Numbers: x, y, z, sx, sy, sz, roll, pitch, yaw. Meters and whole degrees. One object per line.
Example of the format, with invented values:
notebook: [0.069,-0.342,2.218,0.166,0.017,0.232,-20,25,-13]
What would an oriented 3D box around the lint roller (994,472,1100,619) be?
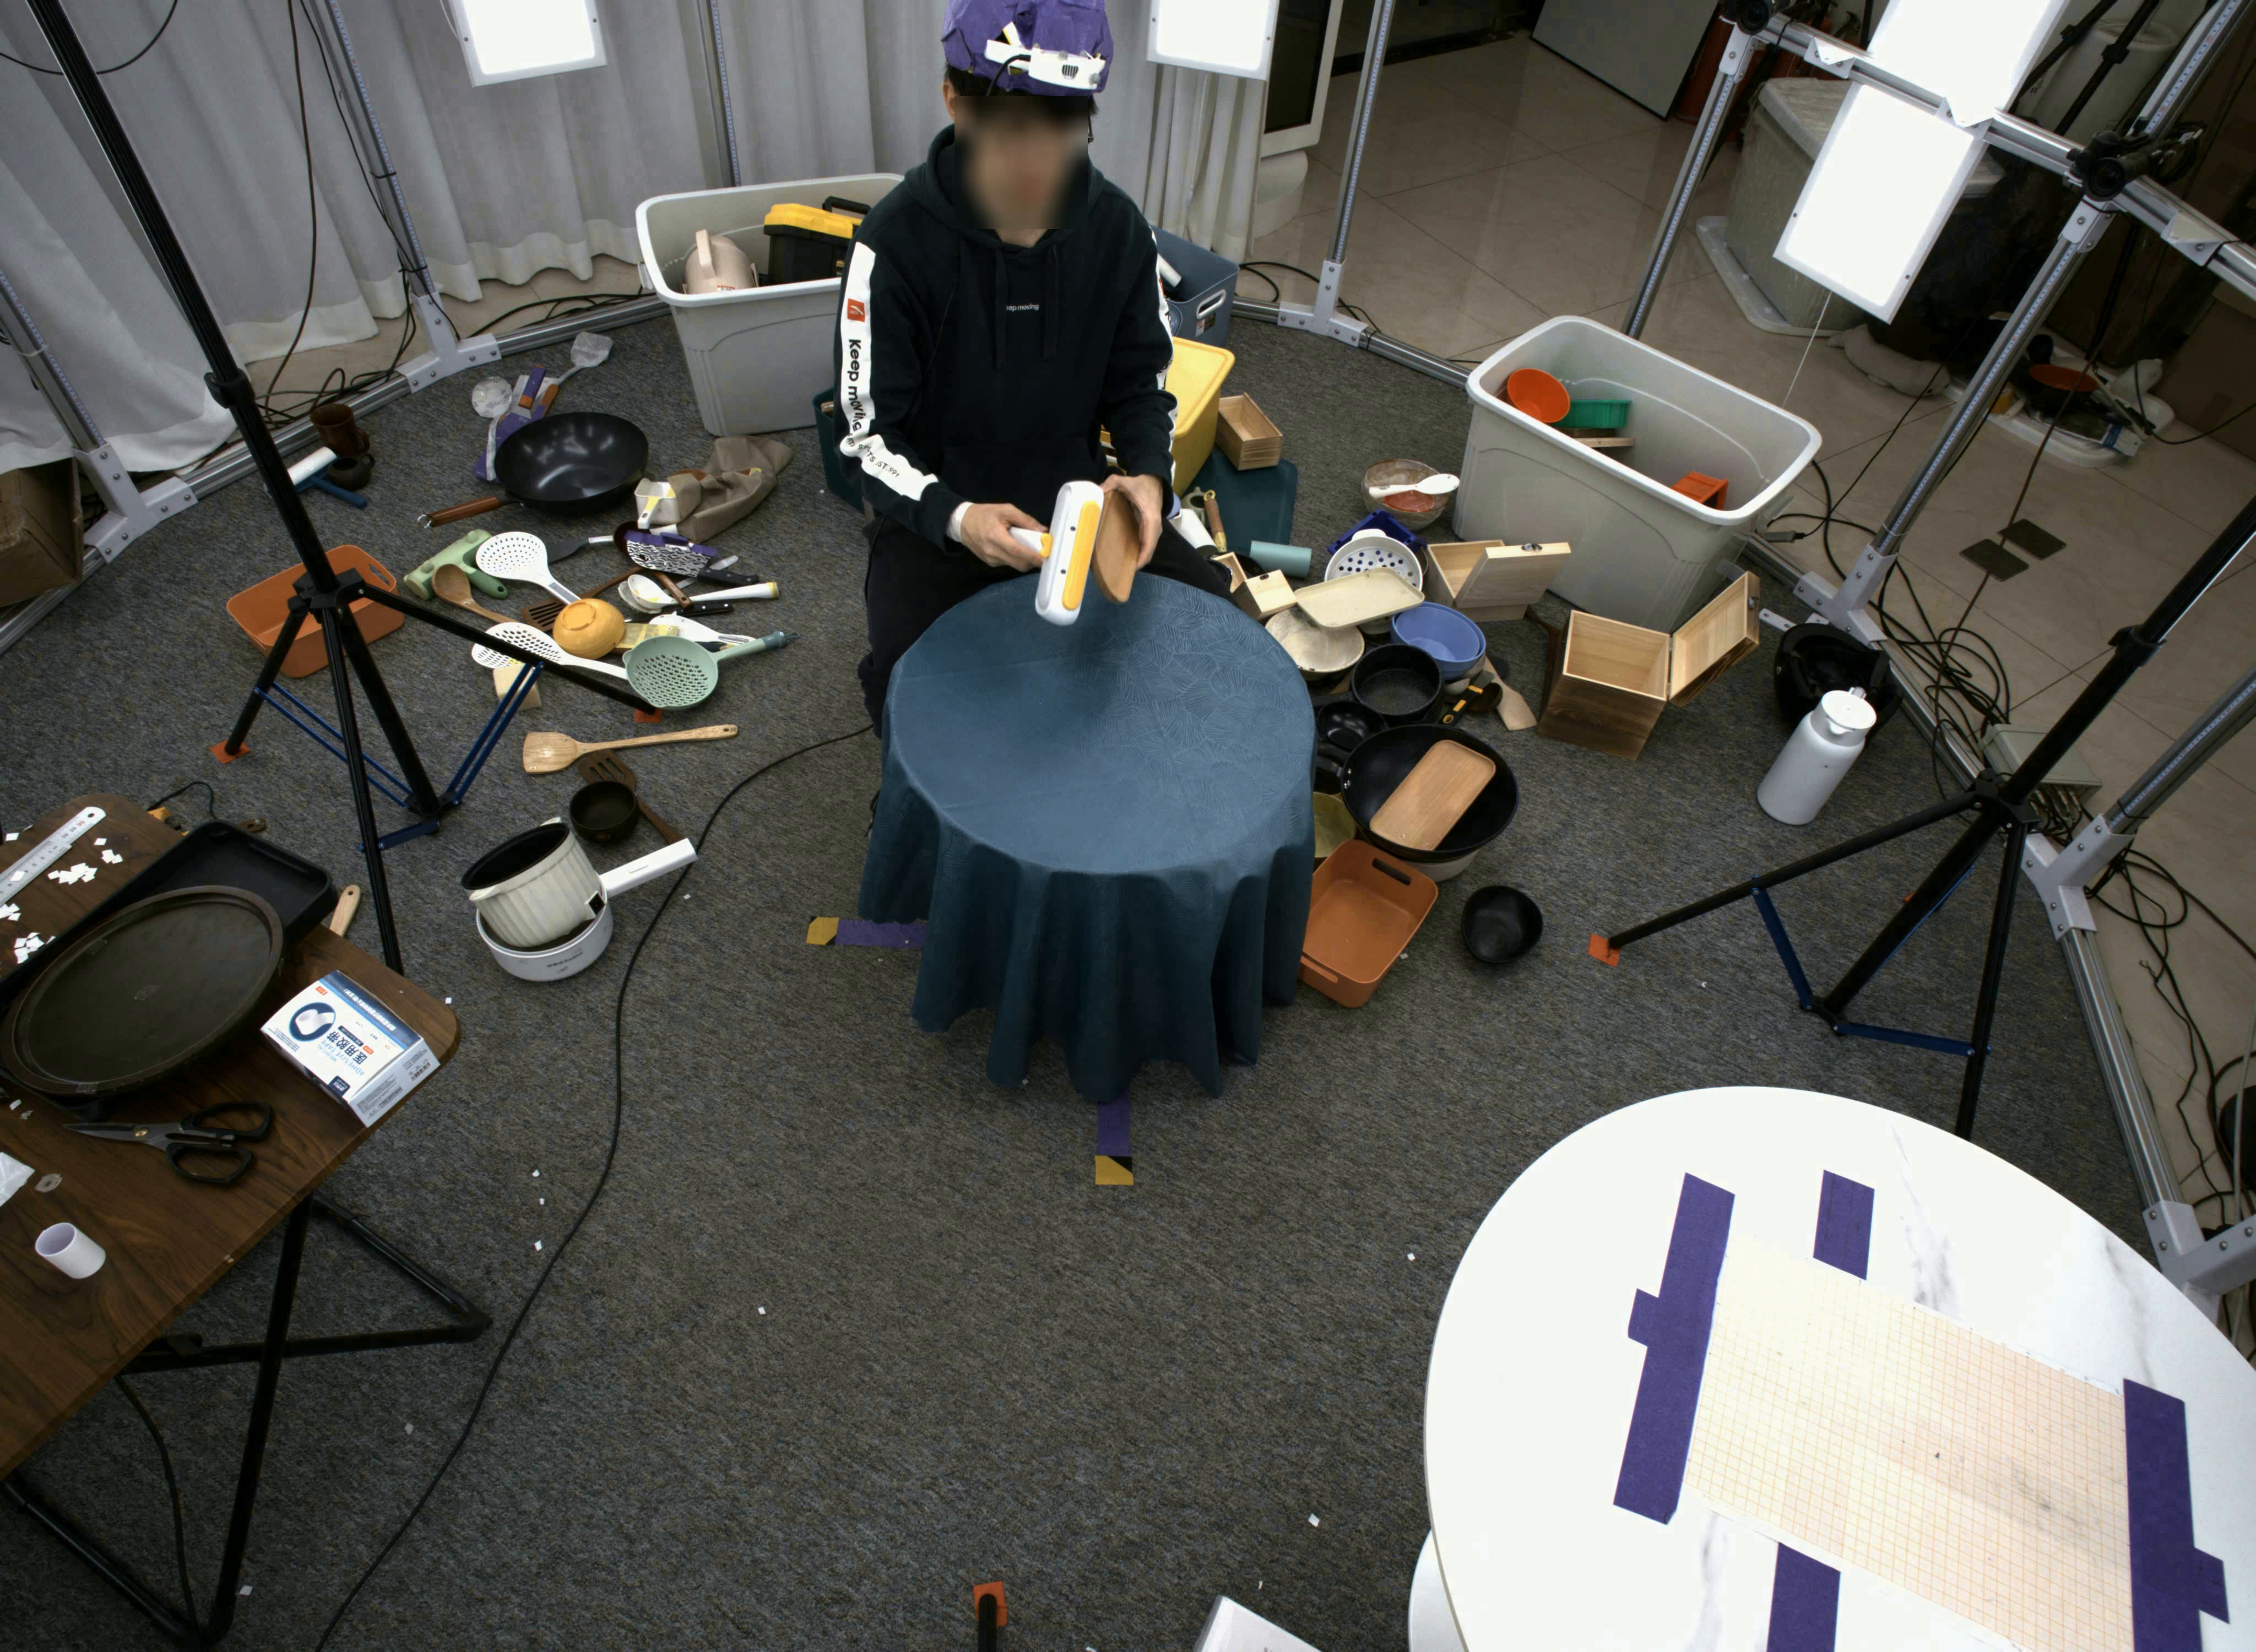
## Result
lint roller: [-0.115,-0.385,1.761,0.074,0.192,0.194,1,10,-33]

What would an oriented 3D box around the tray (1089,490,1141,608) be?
tray: [-0.018,-0.390,1.811,0.020,0.099,0.236,-19,35,25]
